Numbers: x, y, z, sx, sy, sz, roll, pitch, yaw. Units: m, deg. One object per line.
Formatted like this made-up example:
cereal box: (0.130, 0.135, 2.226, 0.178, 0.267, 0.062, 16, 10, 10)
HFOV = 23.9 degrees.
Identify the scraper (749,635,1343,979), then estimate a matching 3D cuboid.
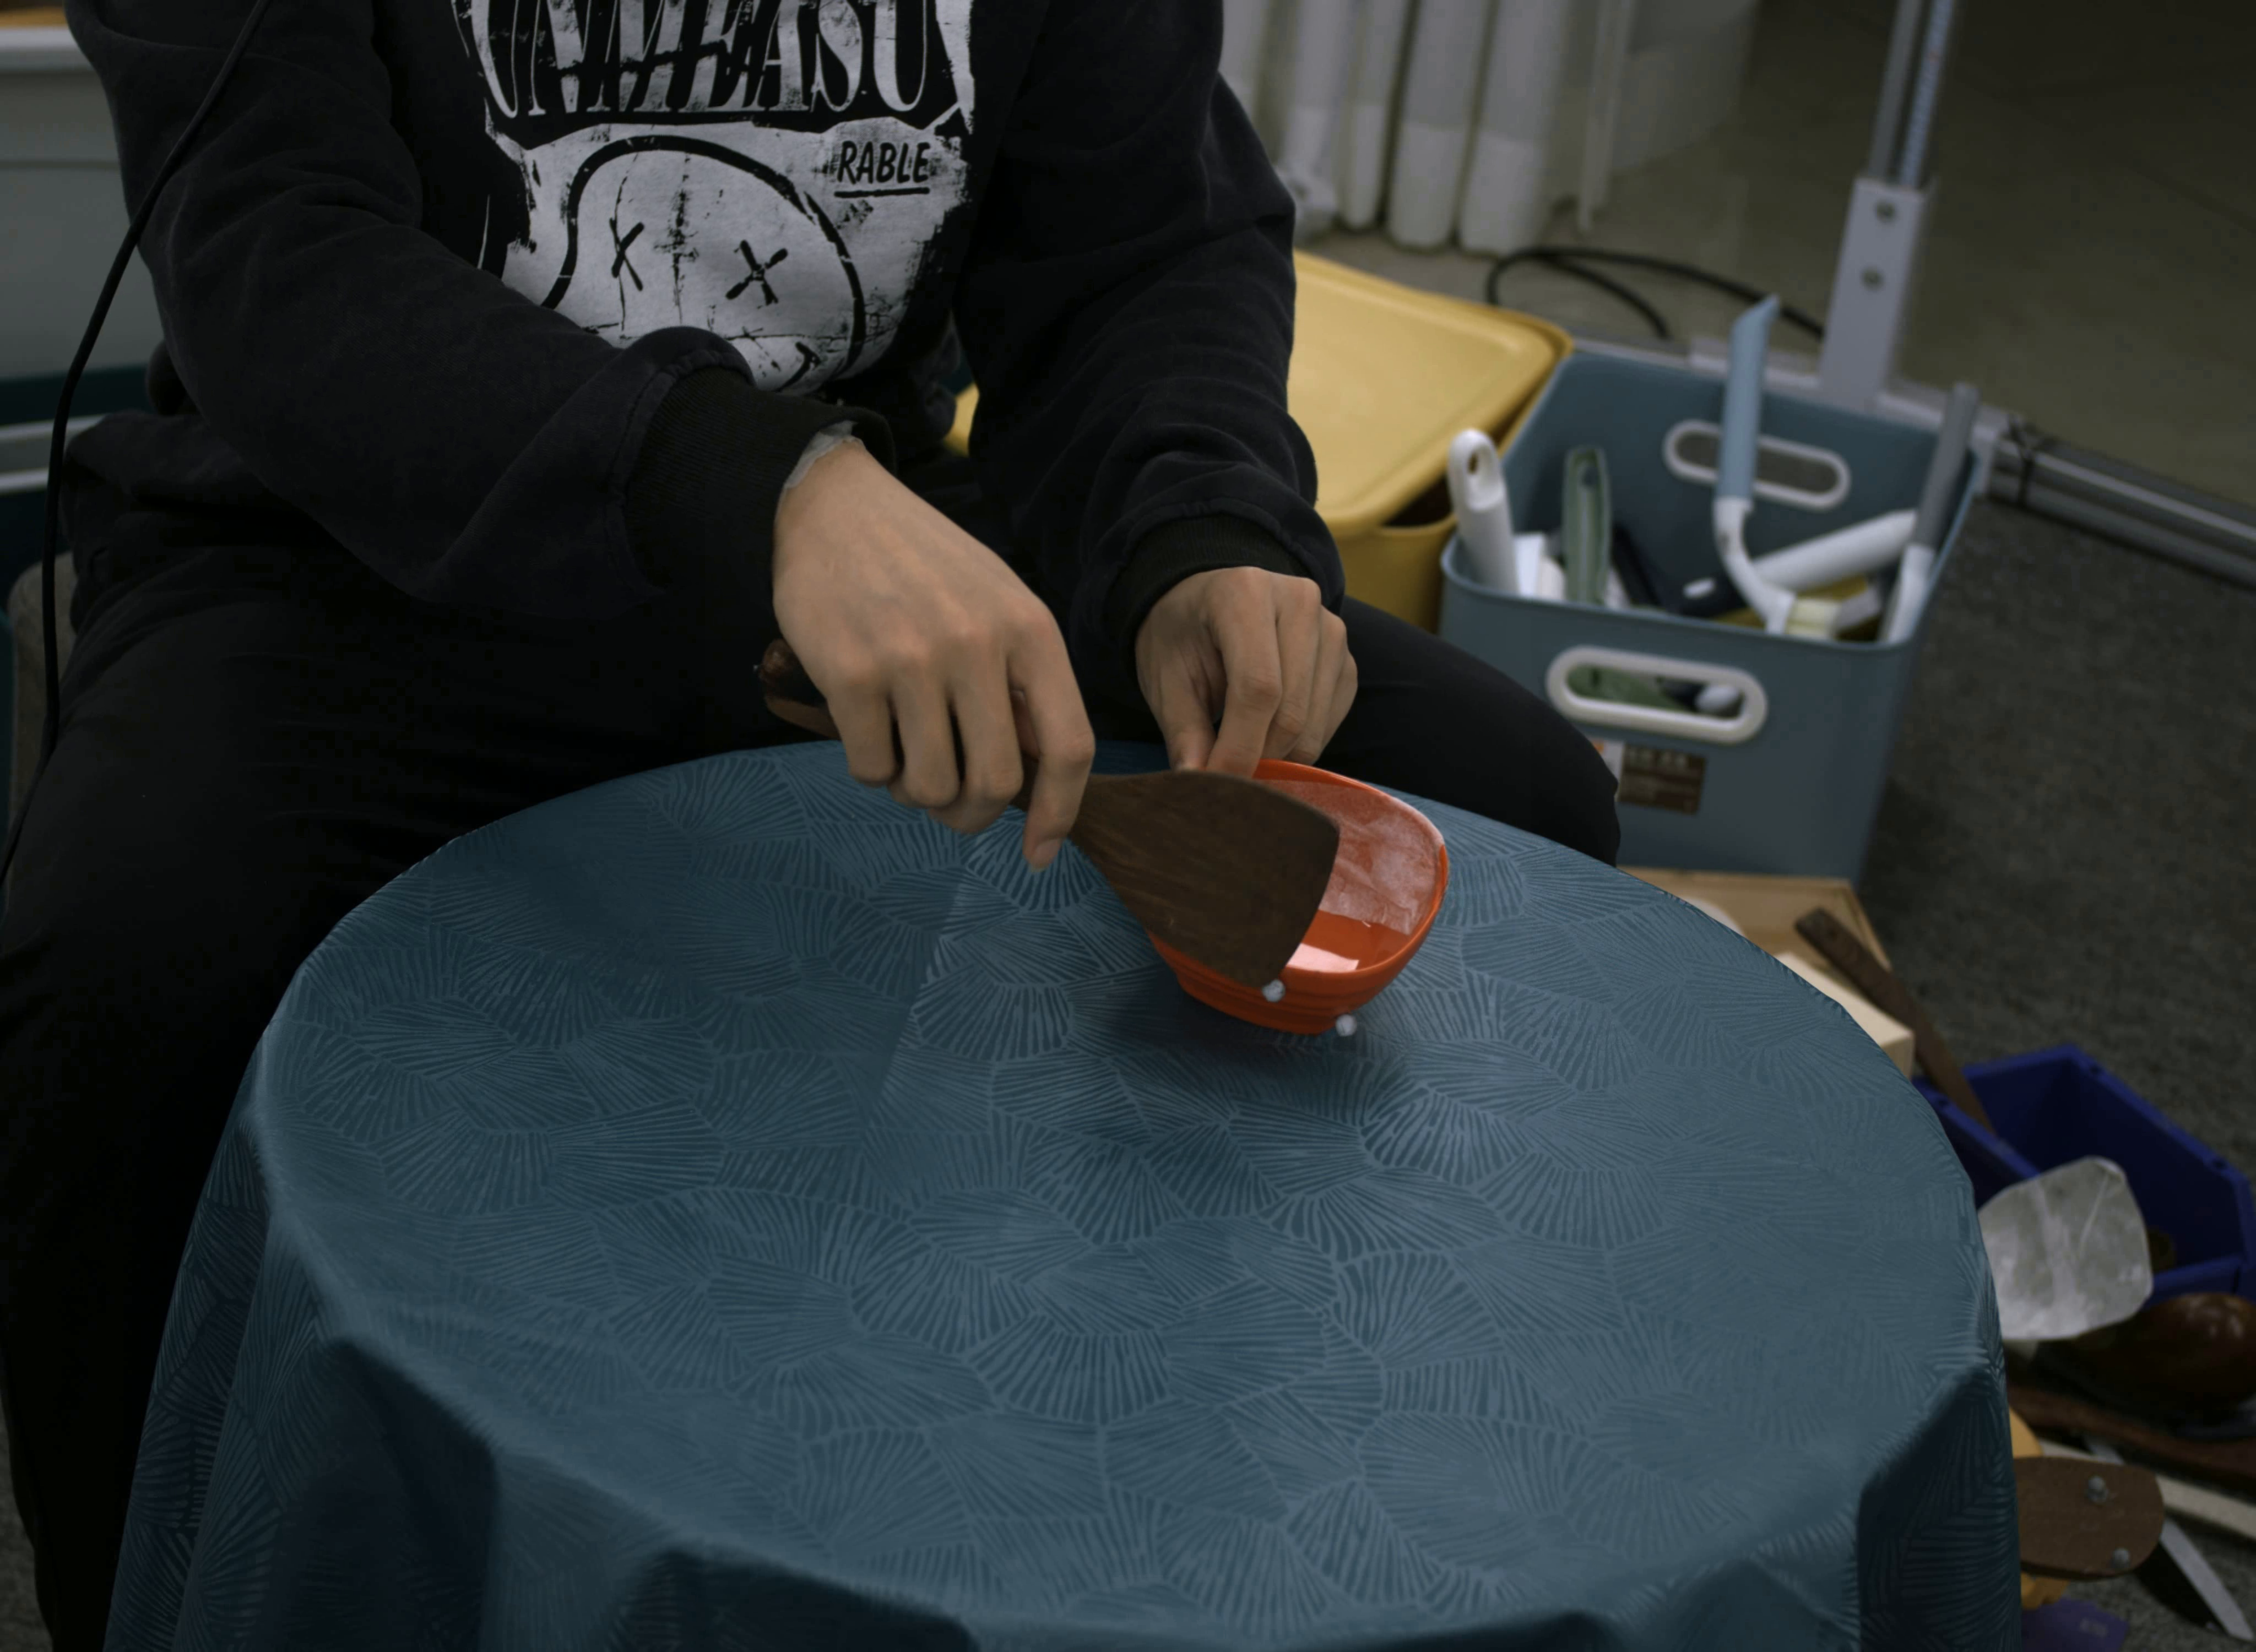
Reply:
scraper: (-0.030, -0.015, 1.827, 0.211, 0.076, 0.011, 23, 25, -2)

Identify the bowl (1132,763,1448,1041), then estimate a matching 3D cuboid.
bowl: (0.056, 0.034, 1.919, 0.118, 0.051, 0.120, 4, 42, -4)
